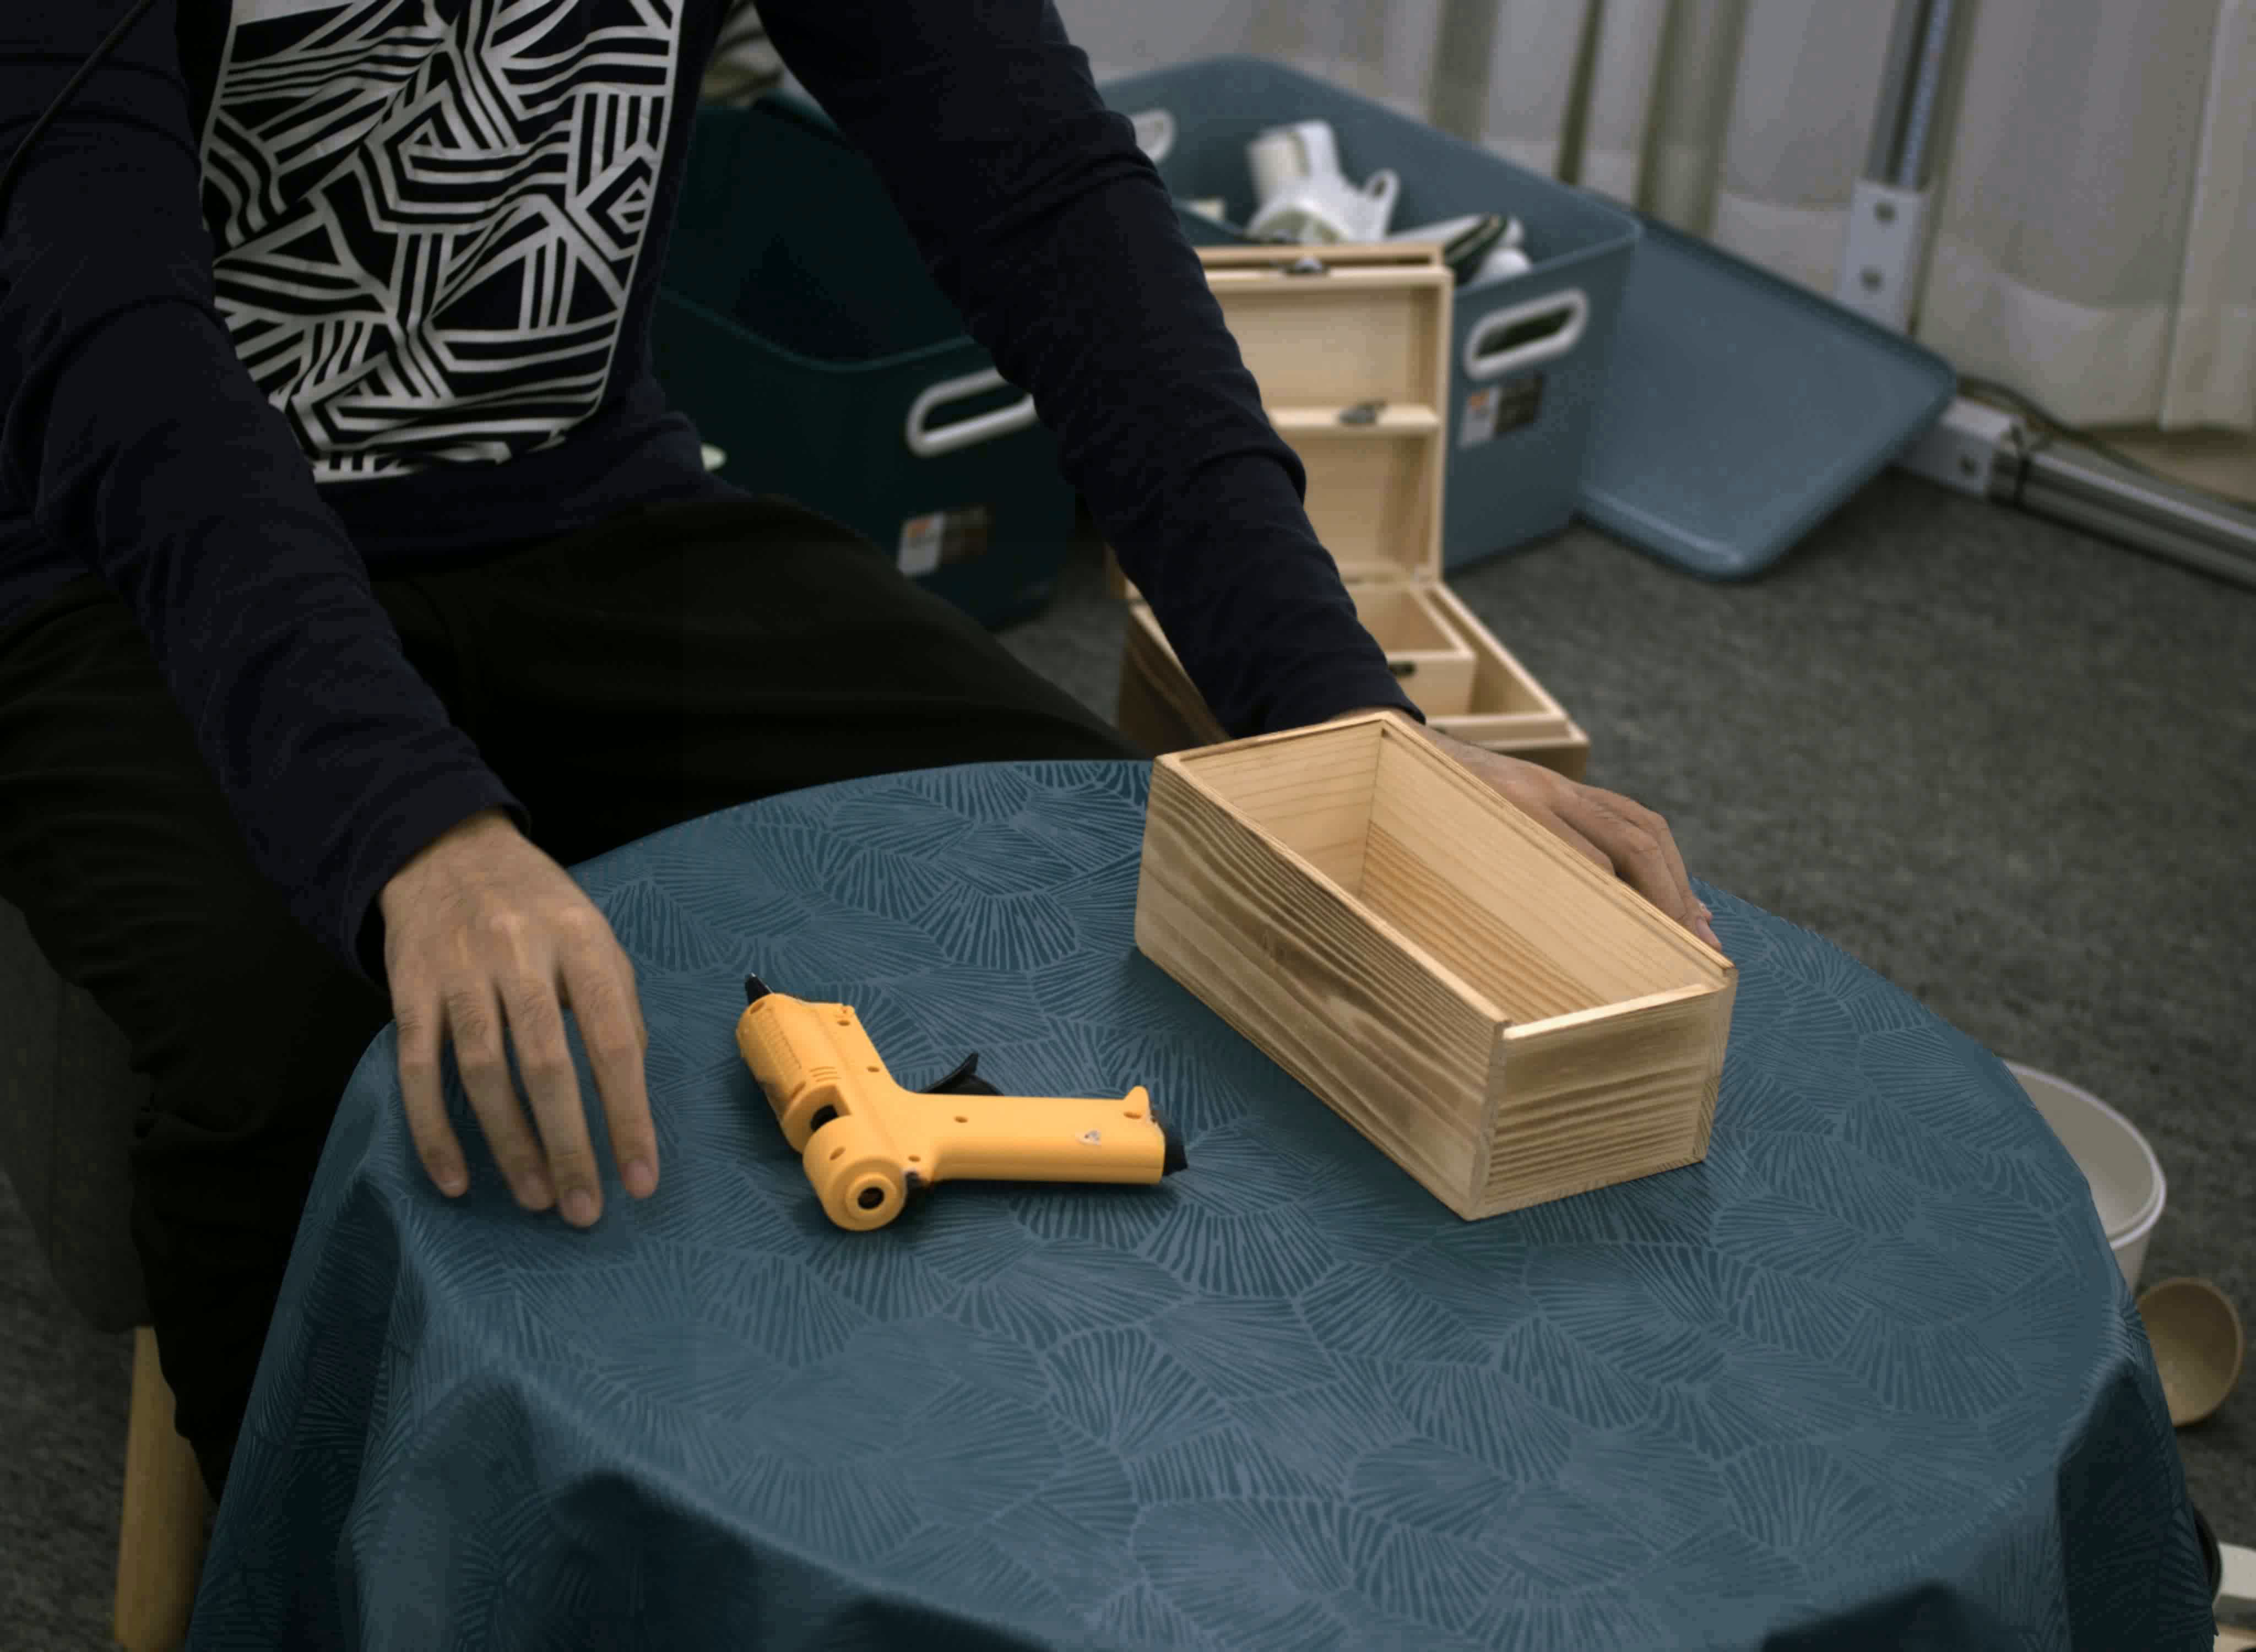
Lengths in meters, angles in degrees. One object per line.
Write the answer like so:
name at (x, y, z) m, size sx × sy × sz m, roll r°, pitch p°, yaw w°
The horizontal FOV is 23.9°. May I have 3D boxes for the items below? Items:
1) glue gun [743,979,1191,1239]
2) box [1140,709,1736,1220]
glue gun at (-0.066, 0.087, 1.840) m, size 0.132 × 0.031 × 0.153 m, roll -5°, pitch 30°, yaw -24°
box at (0.107, 0.046, 1.900) m, size 0.107 × 0.080 × 0.213 m, roll -11°, pitch 32°, yaw -31°
